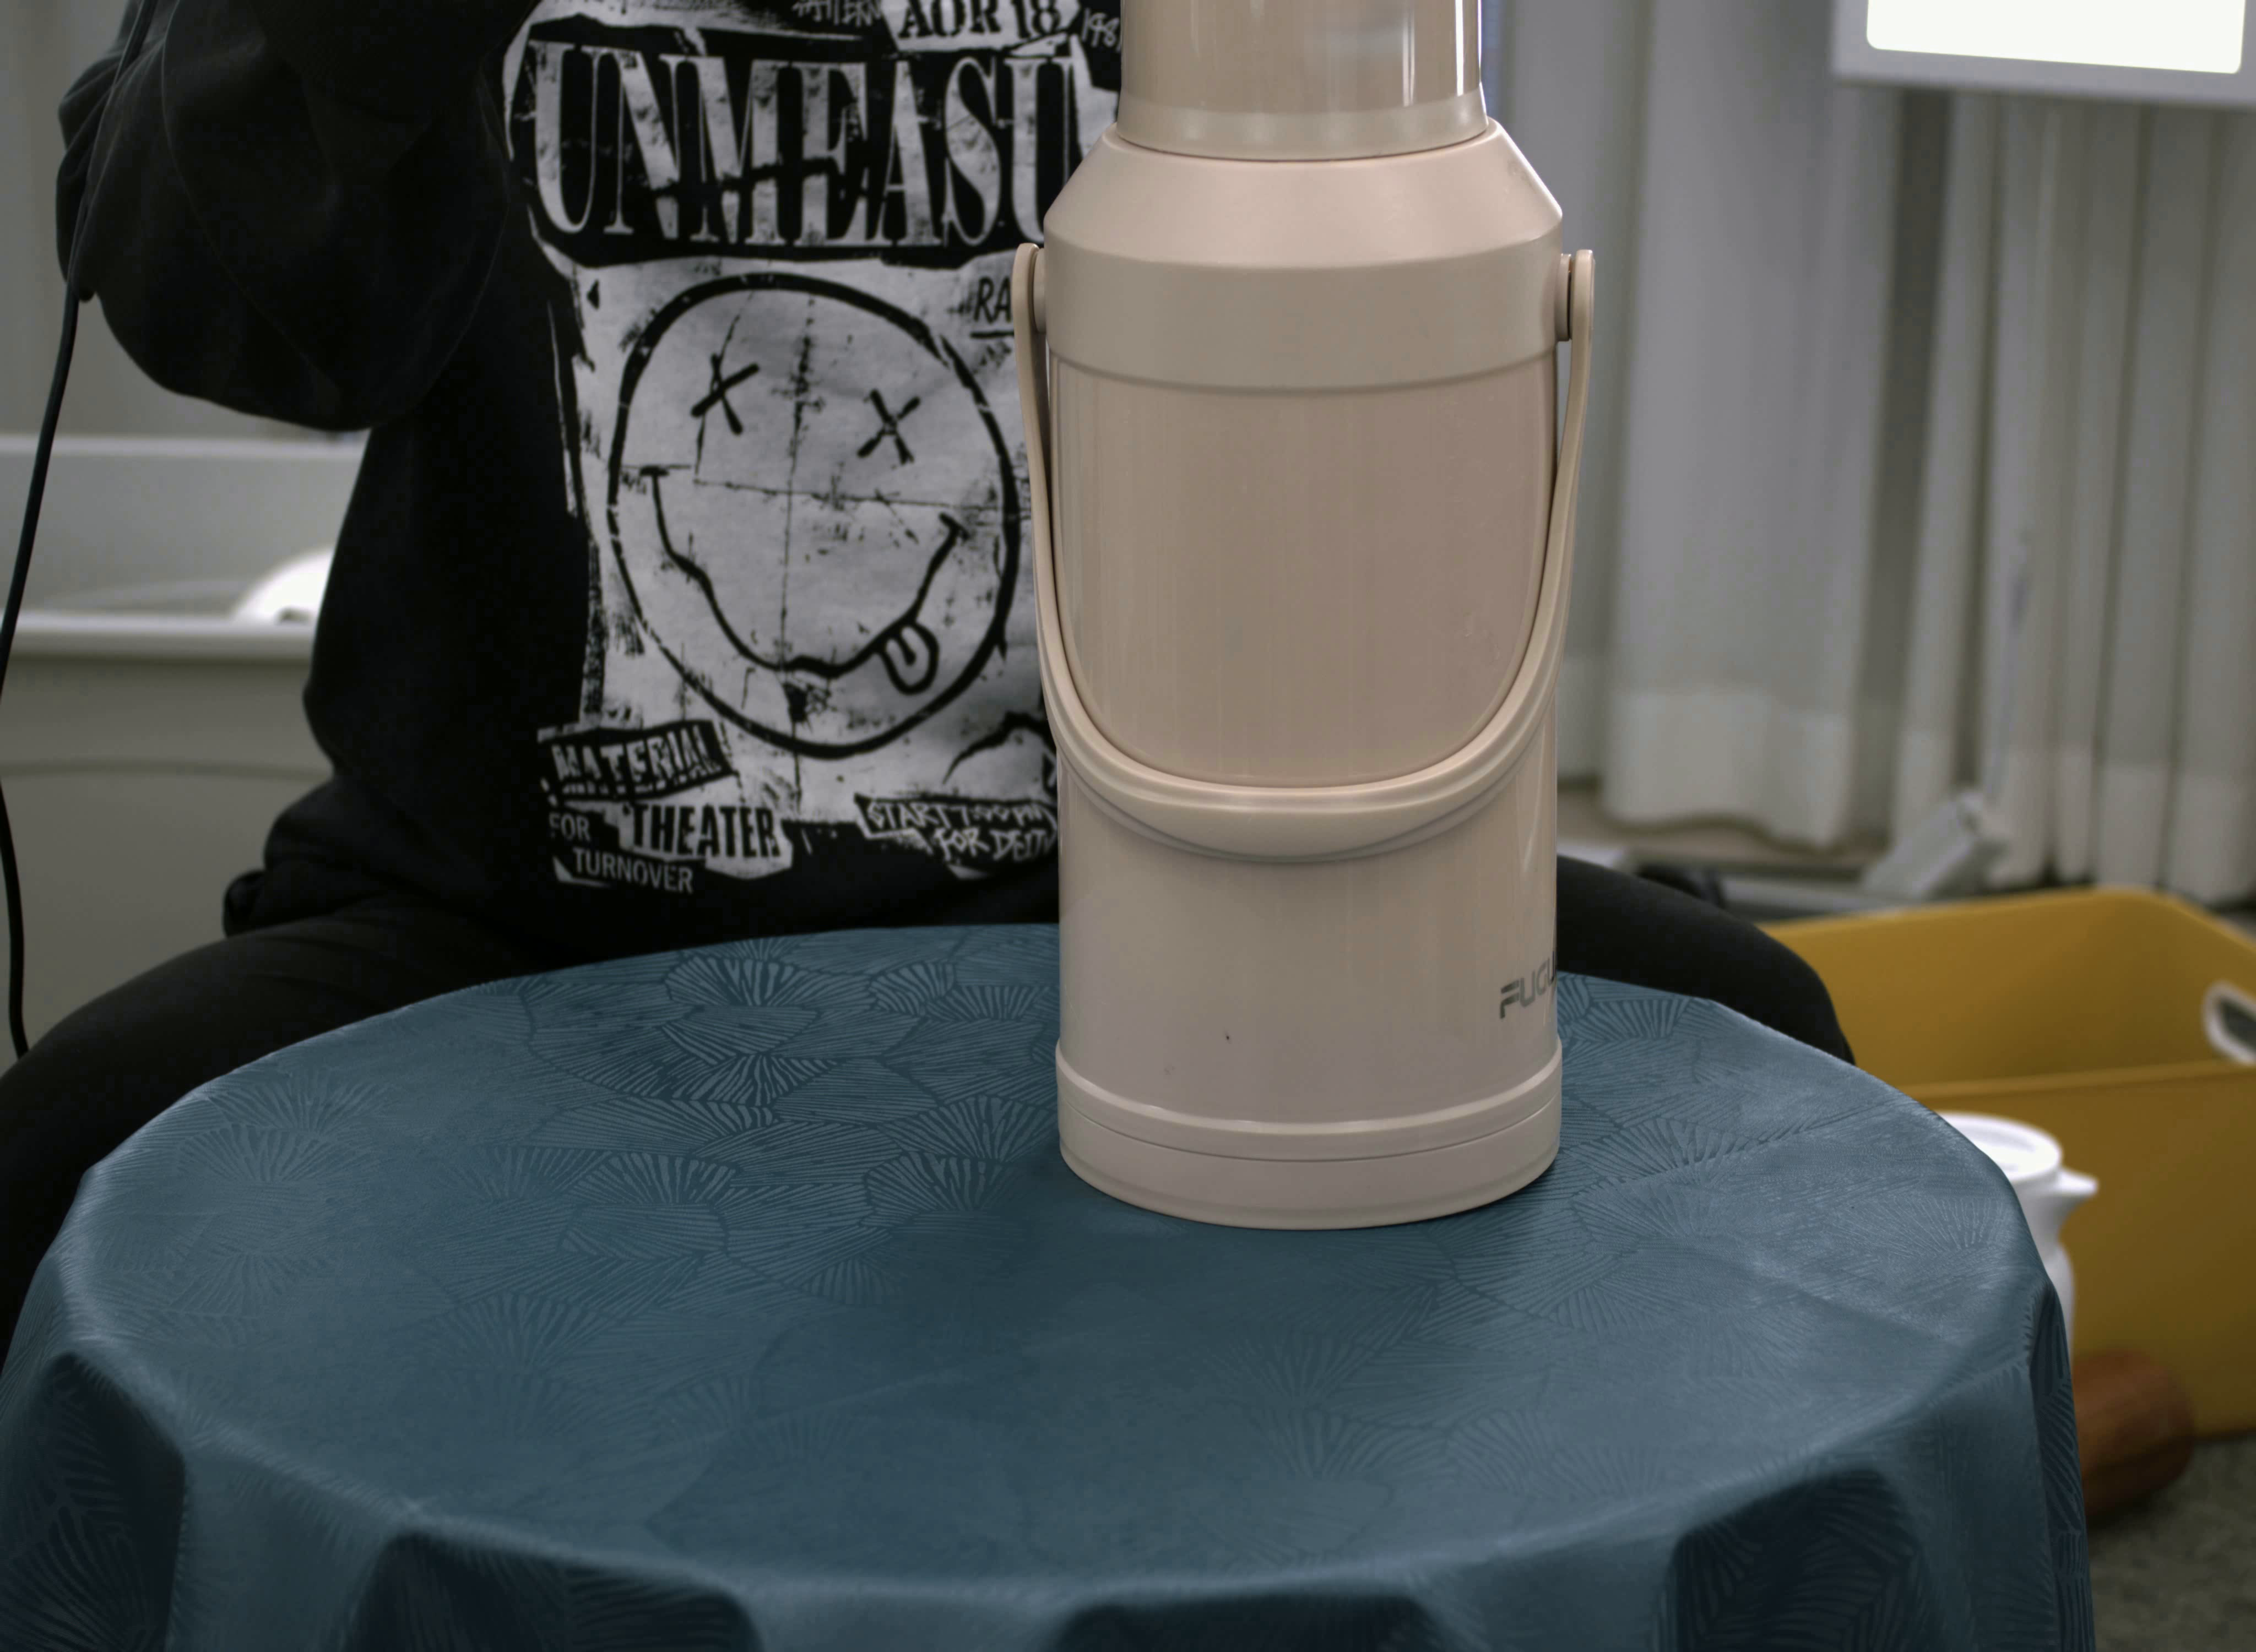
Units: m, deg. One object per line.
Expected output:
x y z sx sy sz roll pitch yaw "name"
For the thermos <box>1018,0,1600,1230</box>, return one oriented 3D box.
0.060 -0.095 1.617 0.174 0.410 0.206 0 18 8 "thermos"
